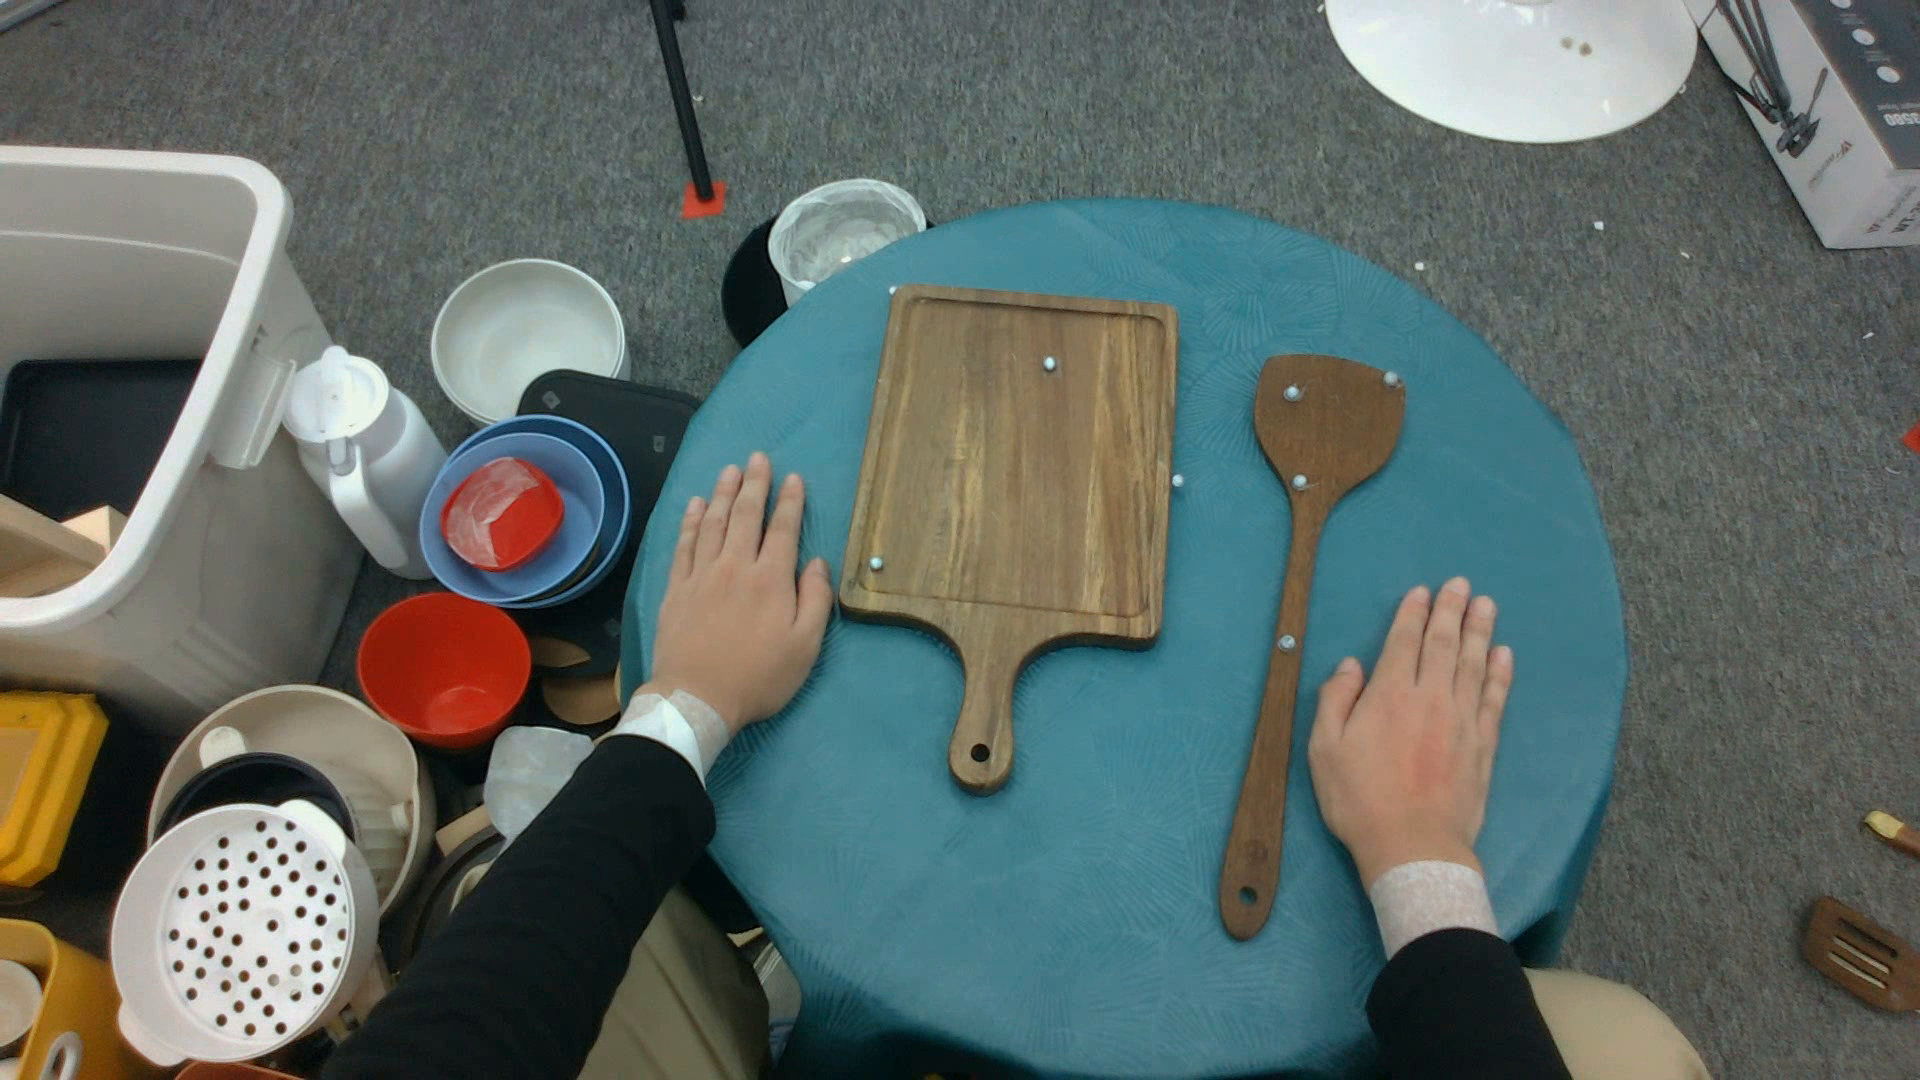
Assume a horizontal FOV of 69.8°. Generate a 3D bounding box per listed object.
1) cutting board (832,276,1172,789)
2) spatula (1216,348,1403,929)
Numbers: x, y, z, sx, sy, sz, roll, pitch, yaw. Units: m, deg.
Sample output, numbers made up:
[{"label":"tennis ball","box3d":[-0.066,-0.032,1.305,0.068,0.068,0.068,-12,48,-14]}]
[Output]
[{"label":"cutting board","box3d":[0.027,-0.018,0.854,0.201,0.023,0.353,5,61,4]},{"label":"spatula","box3d":[0.197,0.041,0.822,0.096,0.016,0.387,12,62,8]}]
